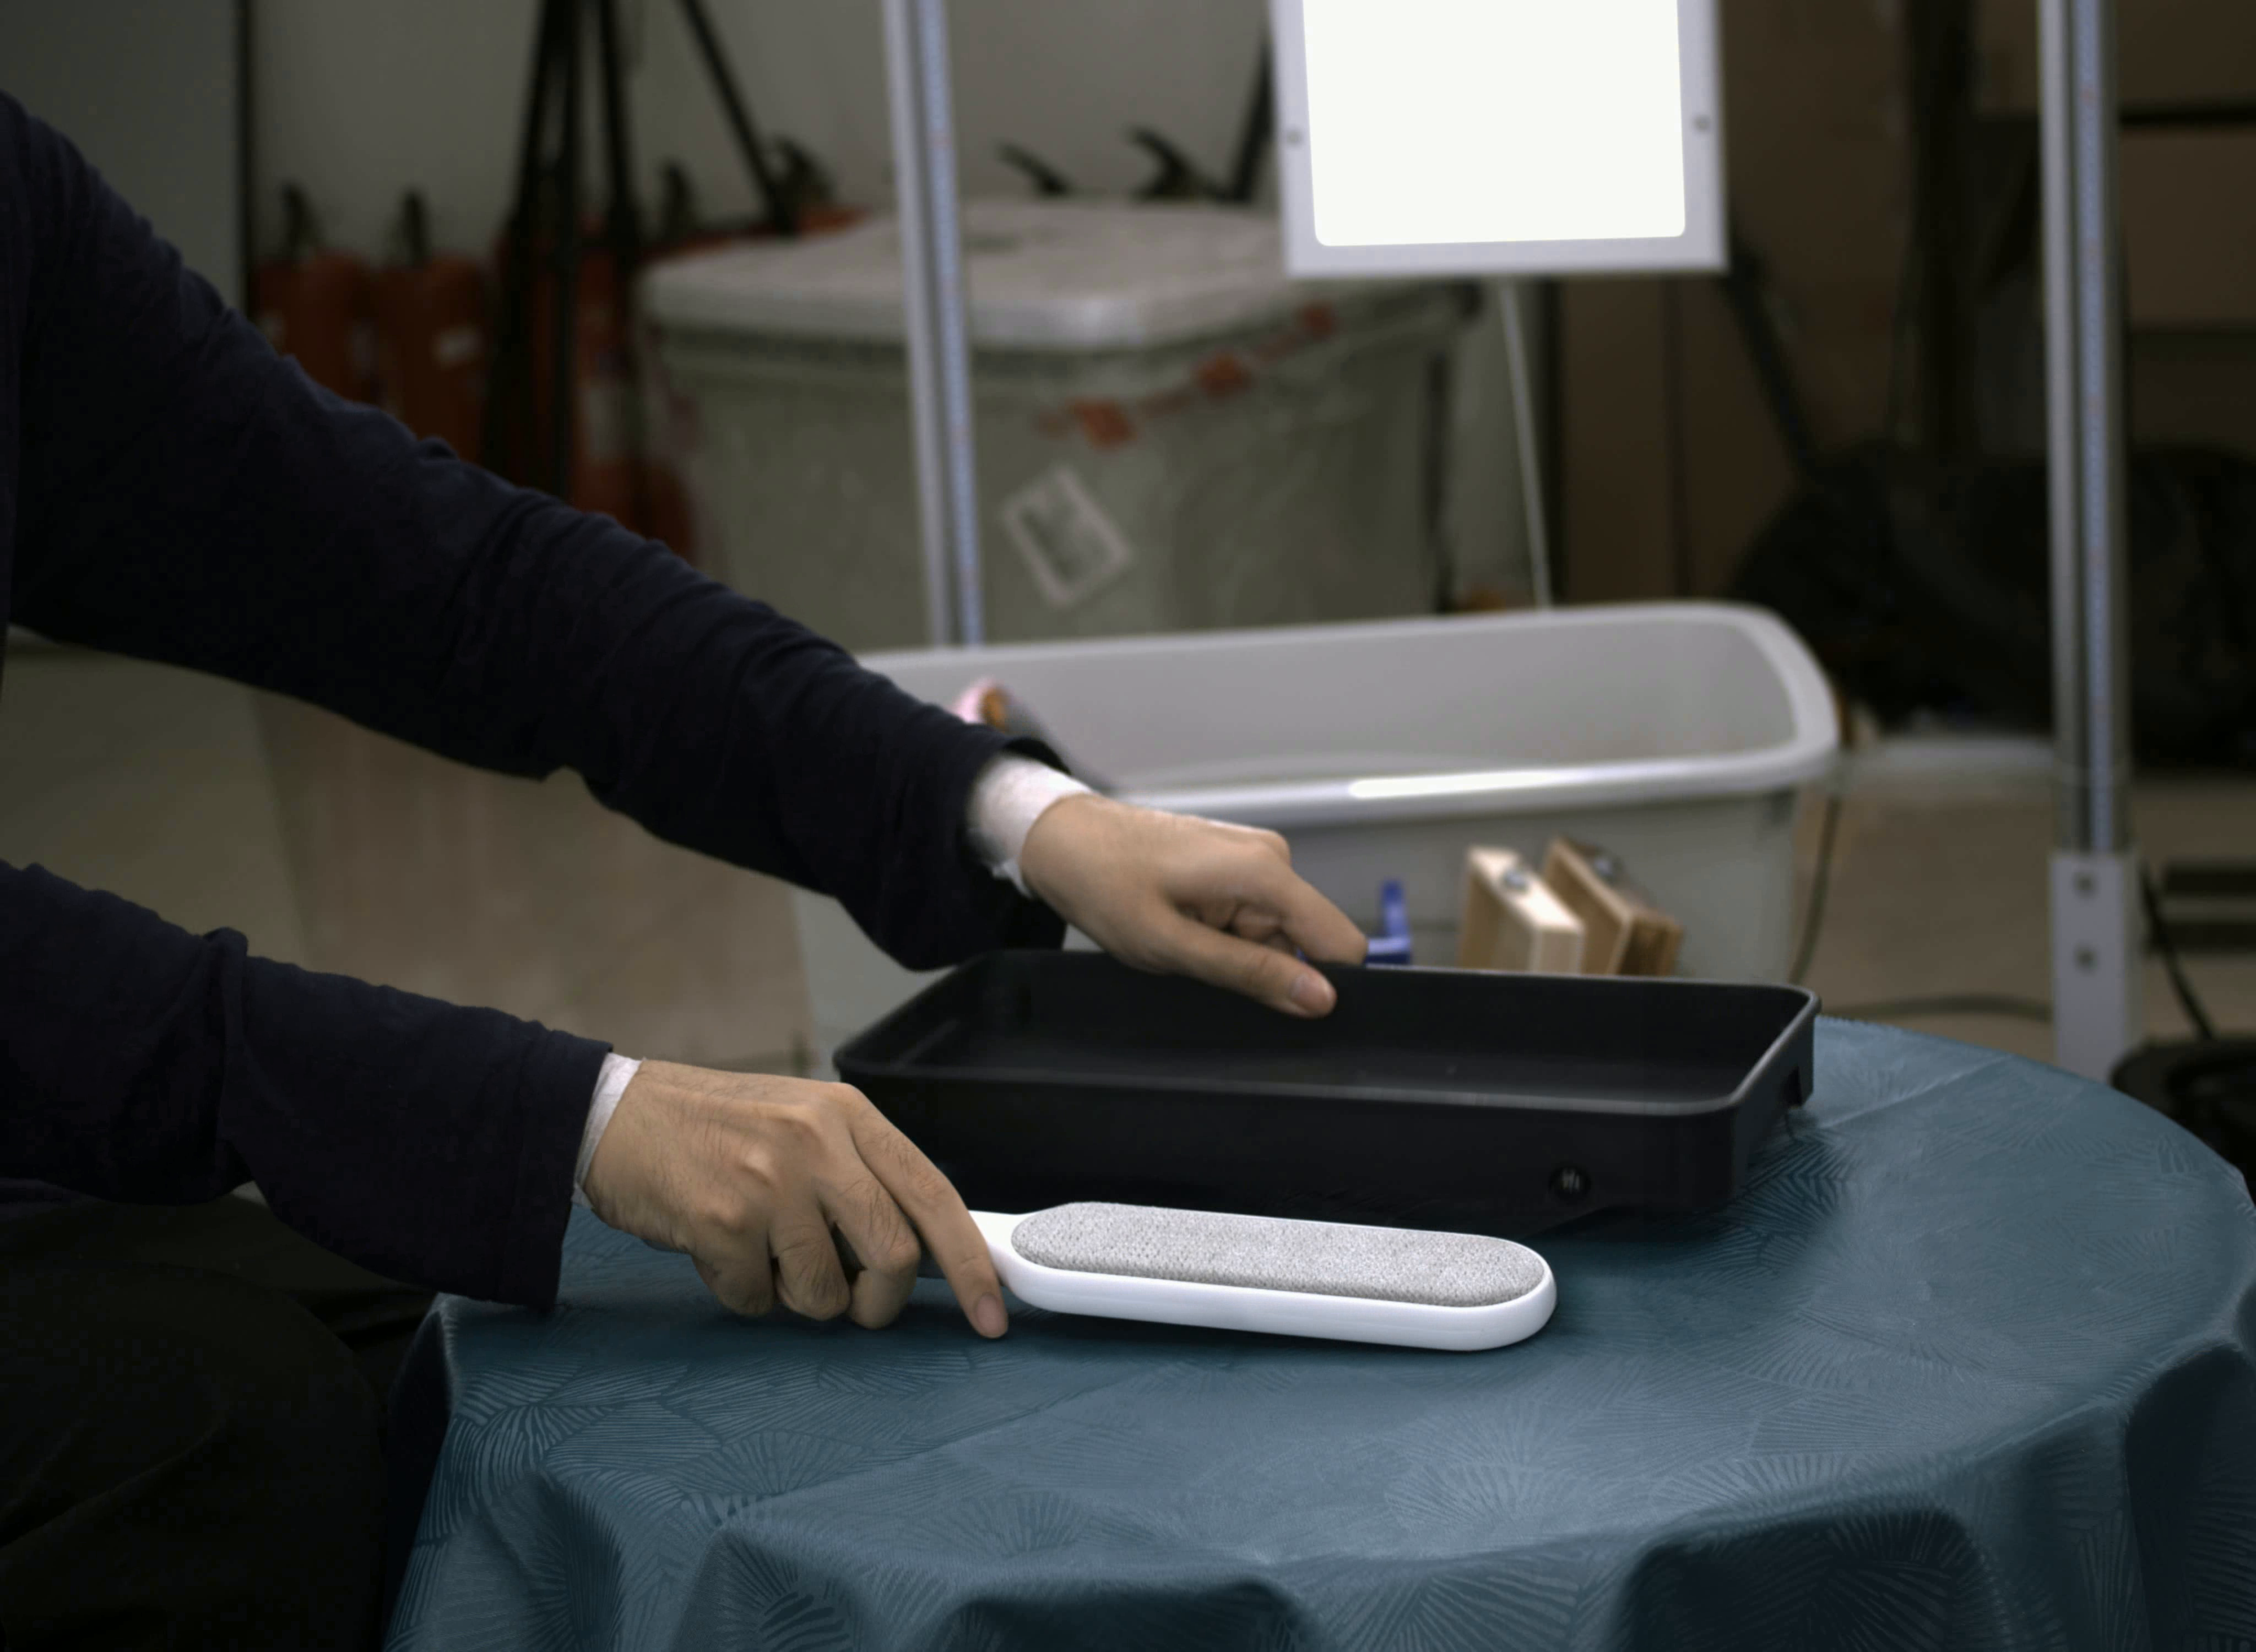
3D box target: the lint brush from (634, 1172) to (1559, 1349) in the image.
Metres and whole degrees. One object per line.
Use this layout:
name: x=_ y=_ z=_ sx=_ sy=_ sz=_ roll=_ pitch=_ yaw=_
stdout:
lint brush: x=-0.014 y=0.135 z=1.769 sx=0.312 sy=0.021 sz=0.059 roll=4 pitch=28 yaw=18

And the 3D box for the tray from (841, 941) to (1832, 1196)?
tray: x=0.074 y=0.082 z=1.910 sx=0.322 sy=0.037 sz=0.181 roll=3 pitch=11 yaw=20
